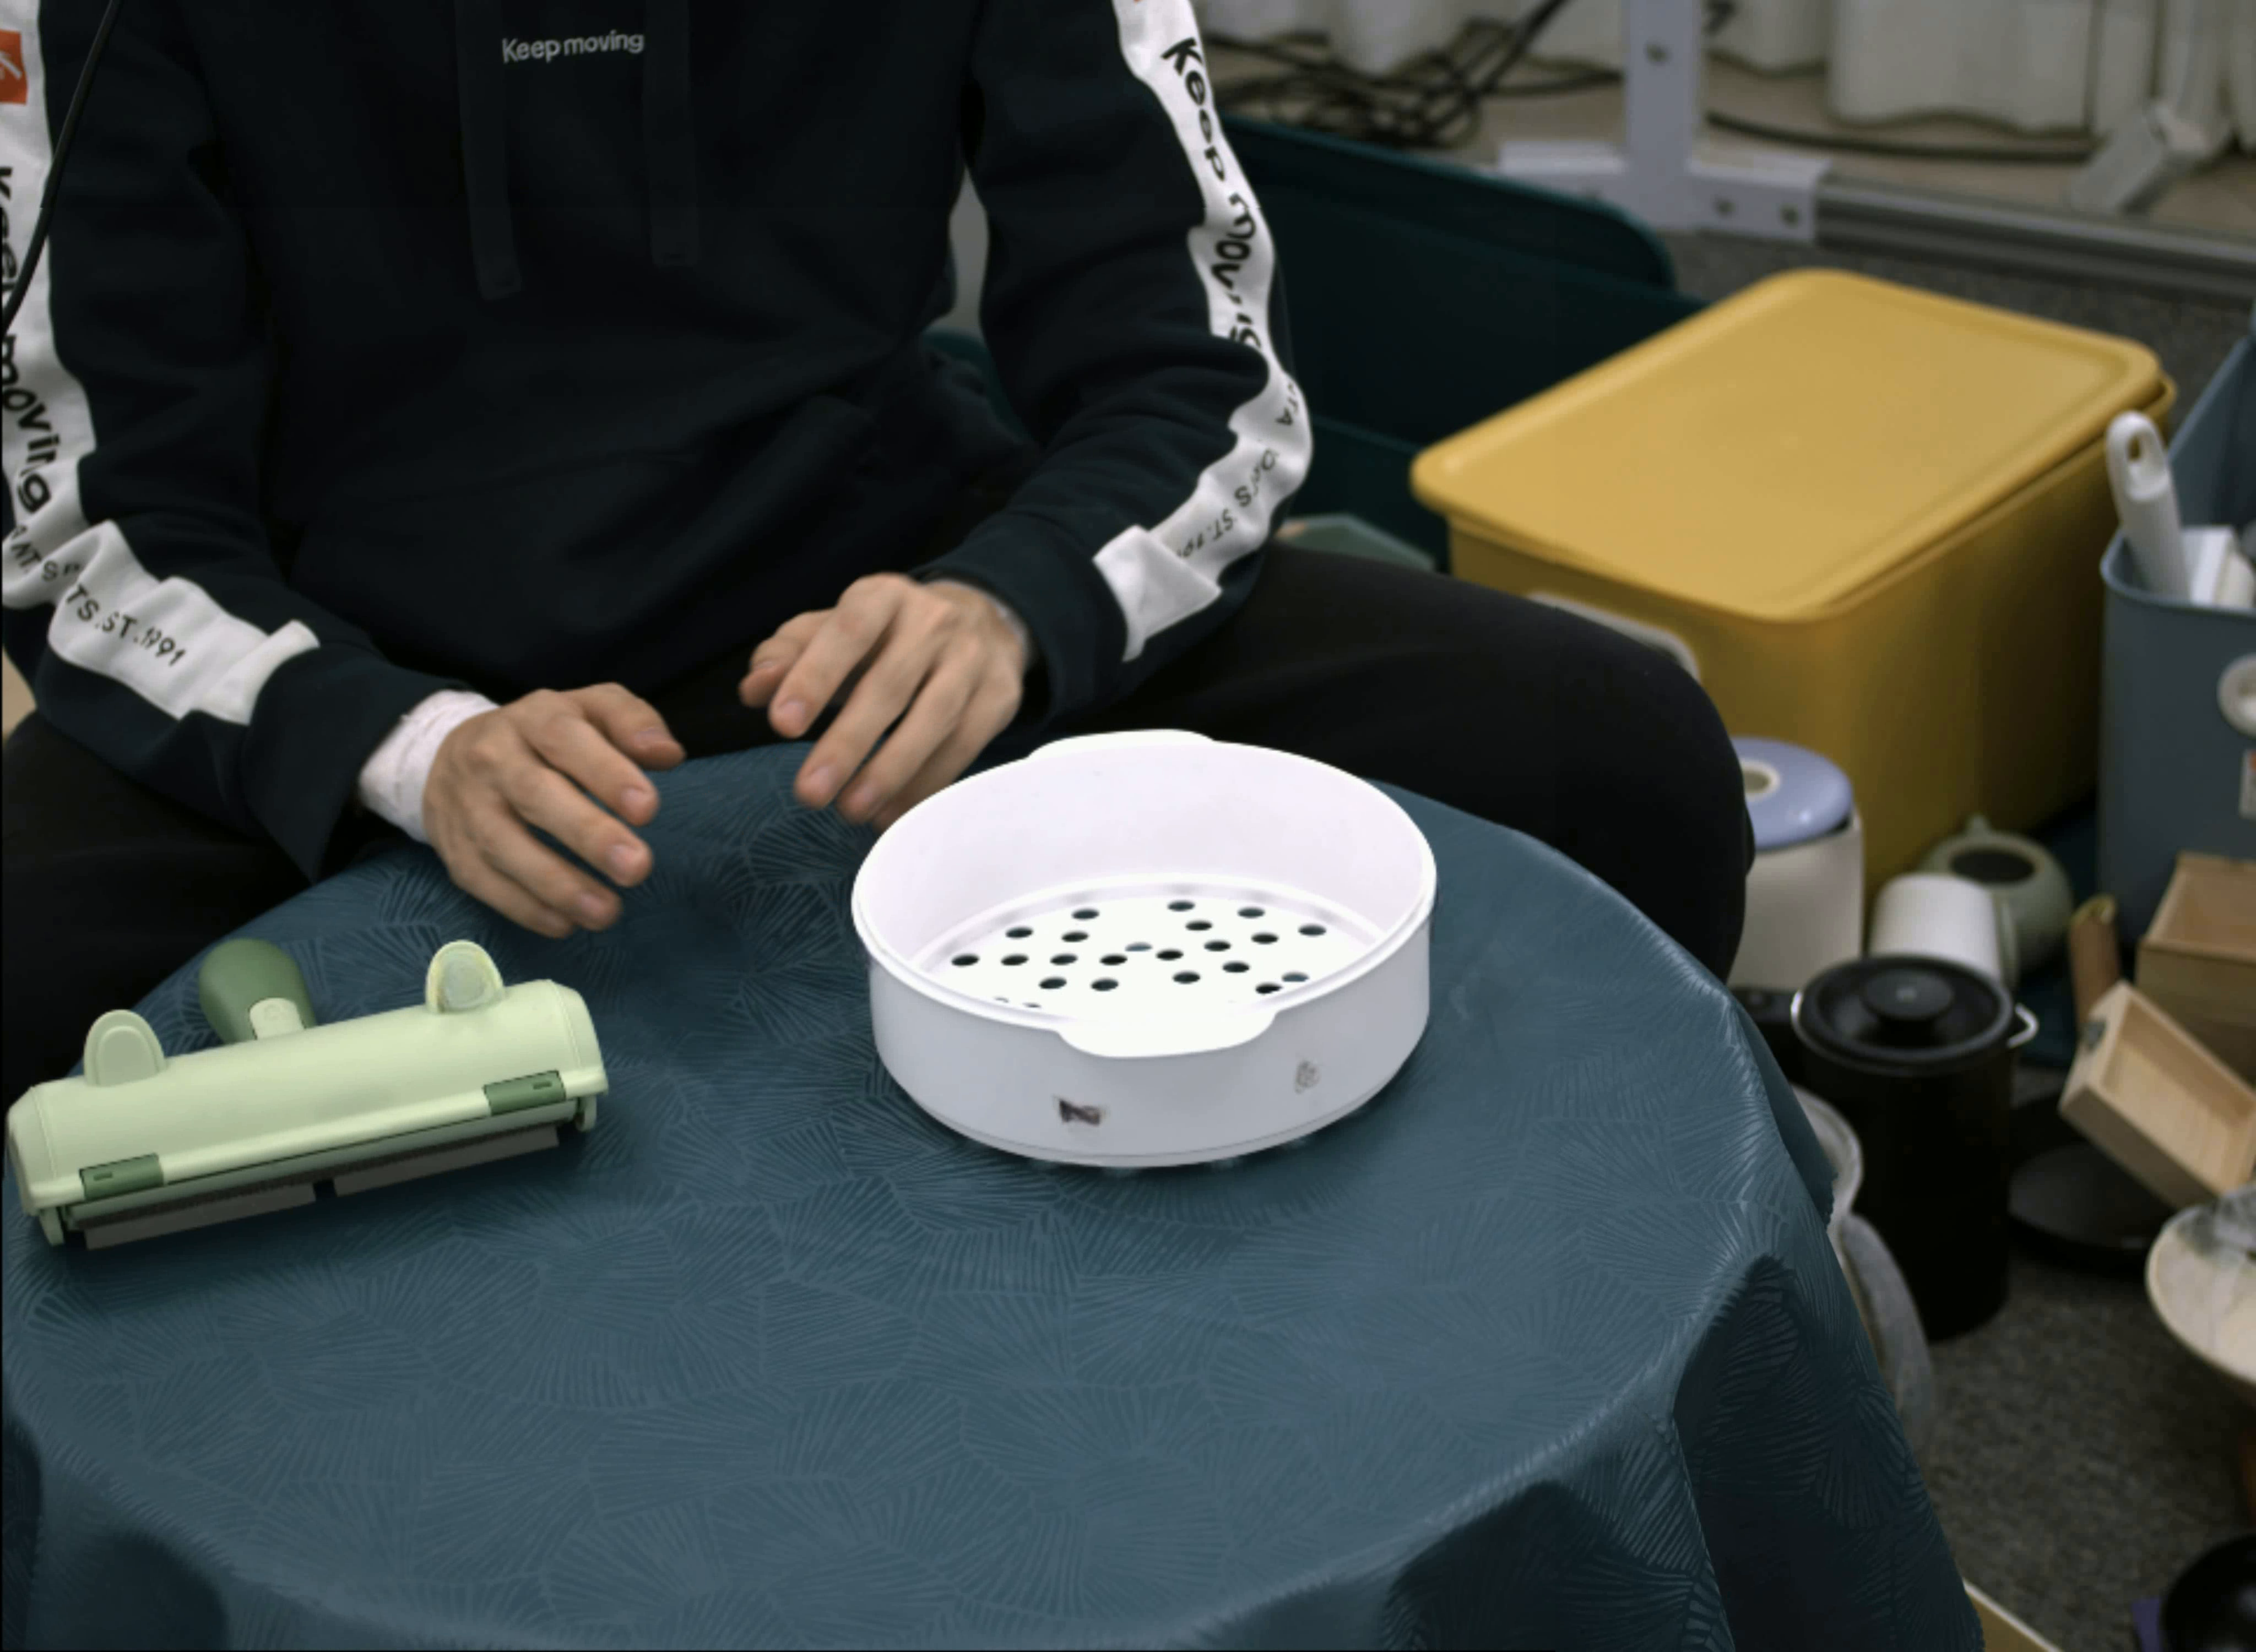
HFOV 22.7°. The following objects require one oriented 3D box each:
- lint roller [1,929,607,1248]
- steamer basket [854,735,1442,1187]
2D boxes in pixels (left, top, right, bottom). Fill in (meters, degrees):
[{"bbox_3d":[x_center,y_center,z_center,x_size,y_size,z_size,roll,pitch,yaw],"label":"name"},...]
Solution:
[{"bbox_3d":[-0.292,0.063,1.919,0.199,0.081,0.185,-11,33,-16],"label":"lint roller"},{"bbox_3d":[0.008,0.048,1.928,0.201,0.068,0.234,-5,29,-3],"label":"steamer basket"}]
